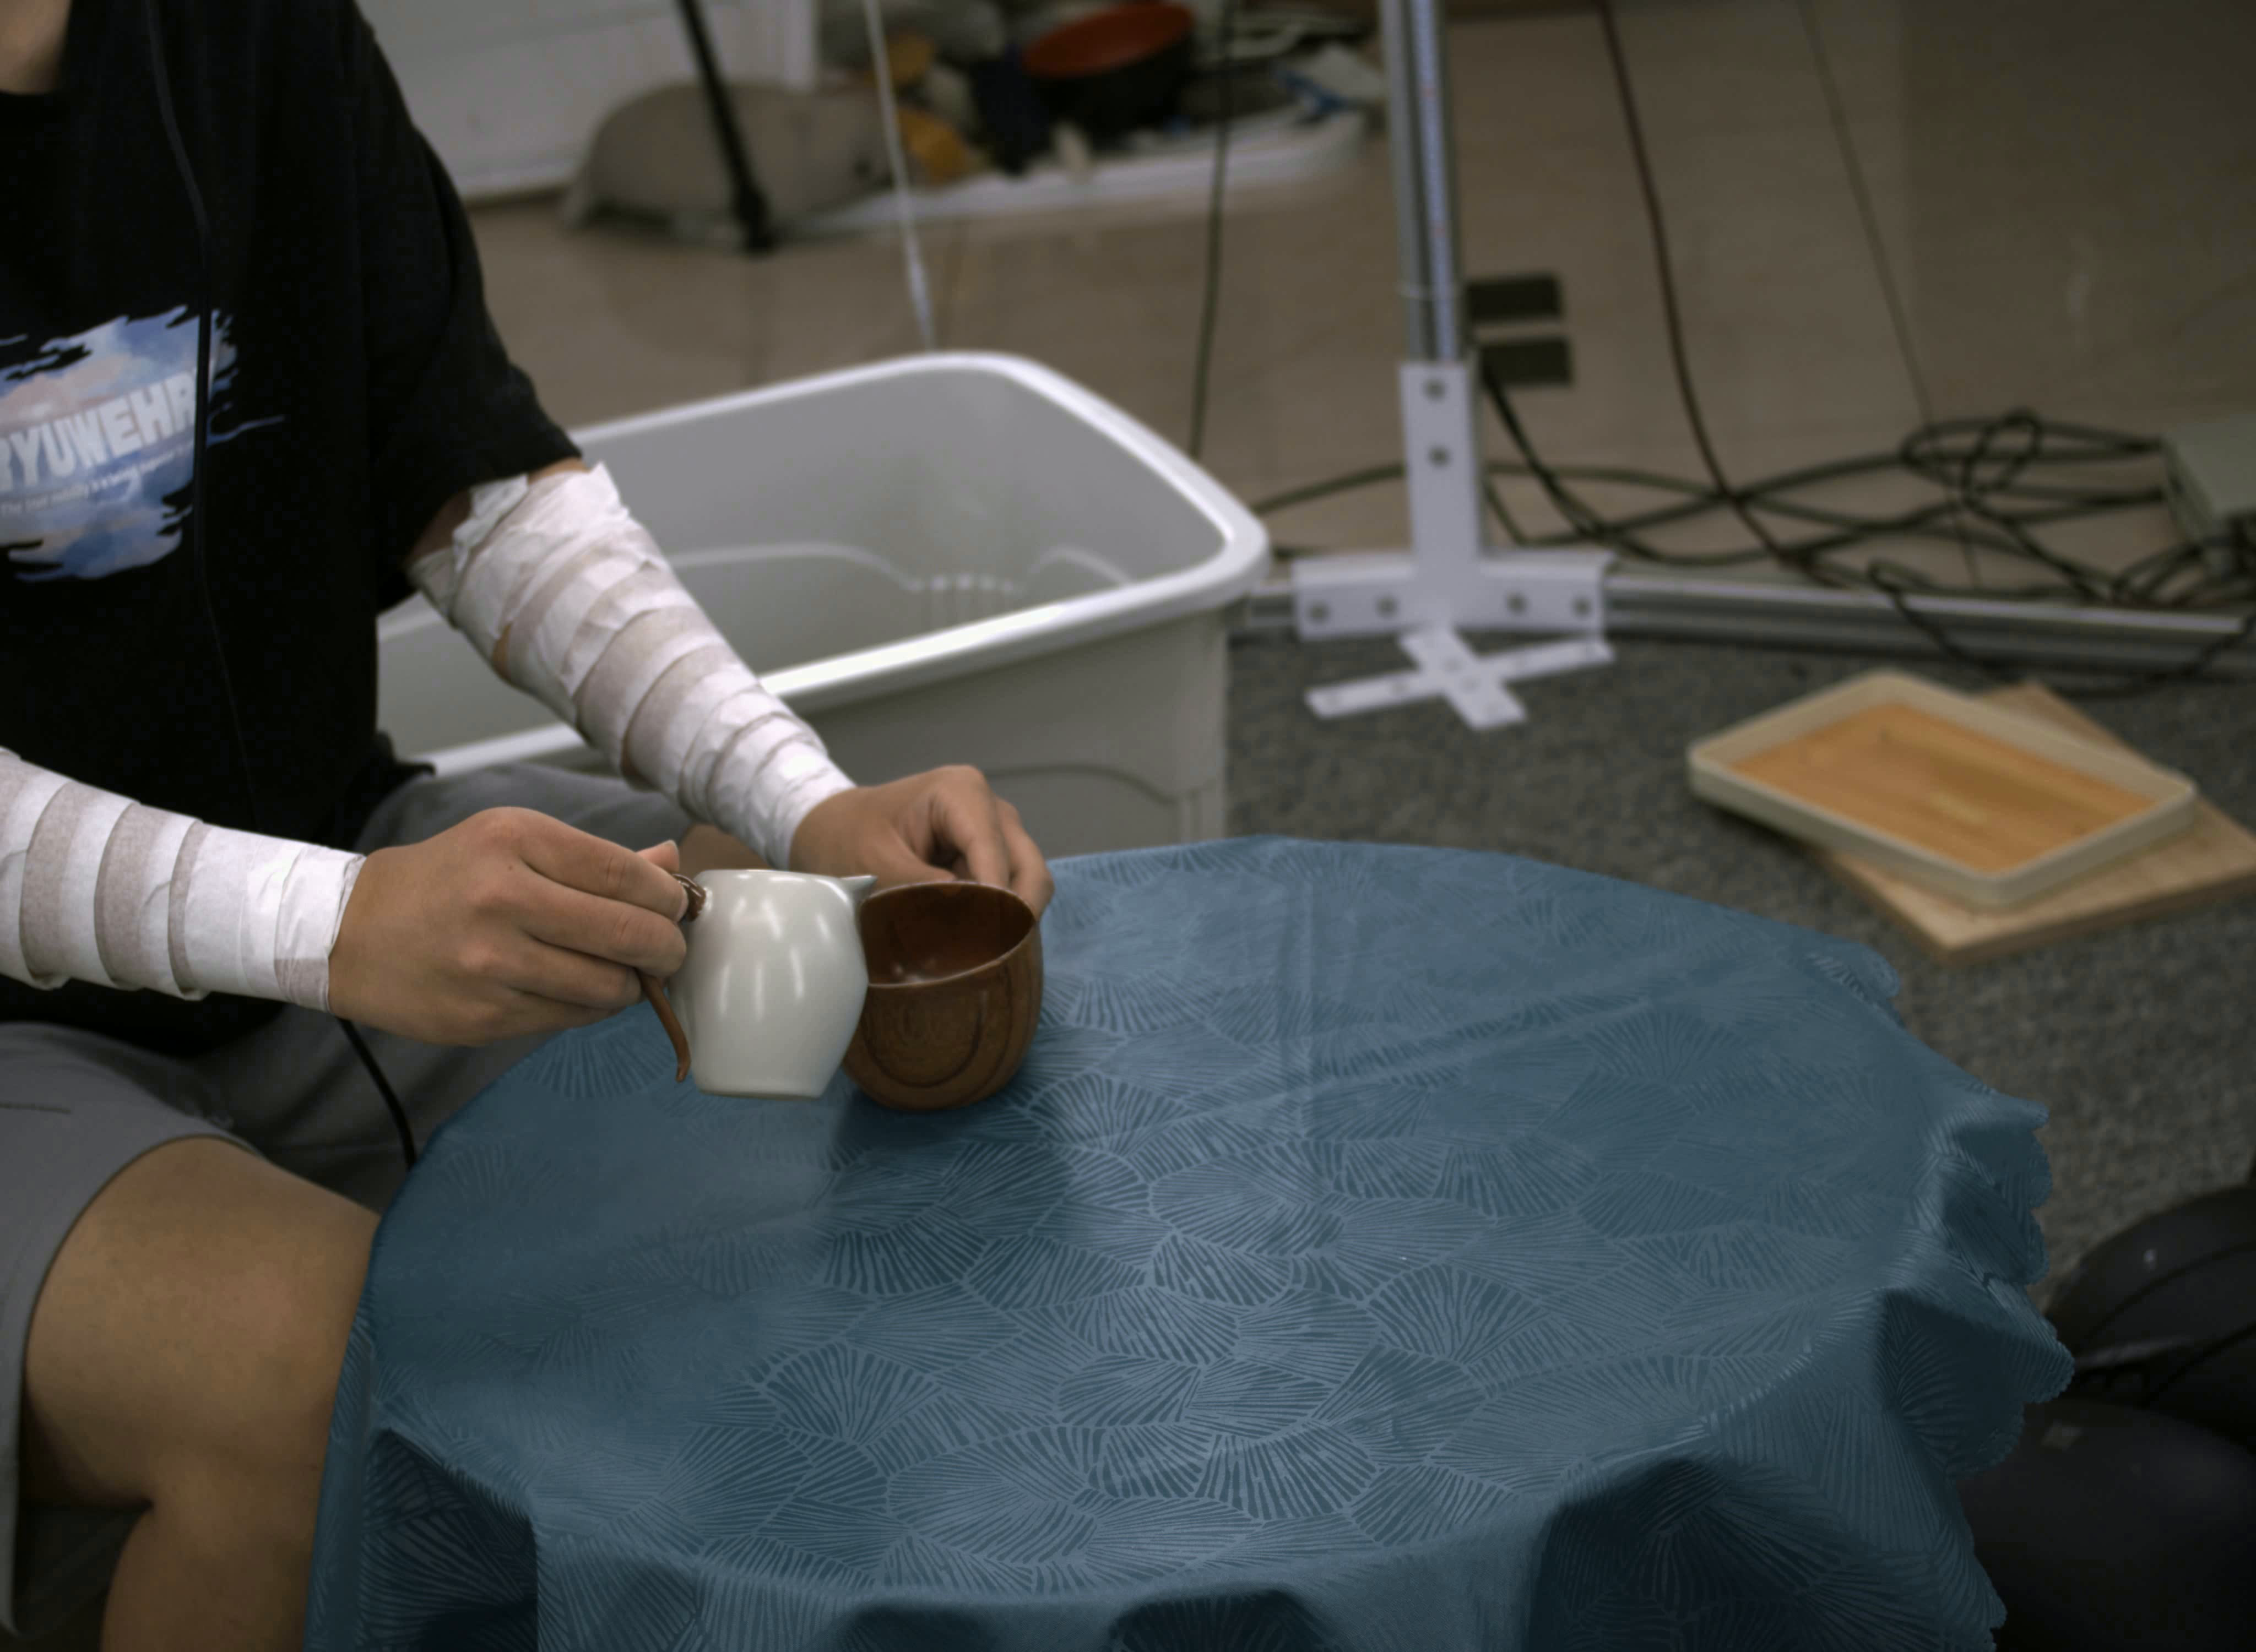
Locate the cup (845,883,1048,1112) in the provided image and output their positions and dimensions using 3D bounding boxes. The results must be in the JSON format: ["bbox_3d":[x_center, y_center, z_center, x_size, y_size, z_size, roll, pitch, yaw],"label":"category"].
[{"bbox_3d":[-0.074,0.066,2.247,0.096,0.069,0.118,-3,23,15],"label":"cup"}]

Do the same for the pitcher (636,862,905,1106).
[{"bbox_3d":[-0.134,0.057,2.110,0.119,0.087,0.076,11,-11,-37],"label":"pitcher"}]
